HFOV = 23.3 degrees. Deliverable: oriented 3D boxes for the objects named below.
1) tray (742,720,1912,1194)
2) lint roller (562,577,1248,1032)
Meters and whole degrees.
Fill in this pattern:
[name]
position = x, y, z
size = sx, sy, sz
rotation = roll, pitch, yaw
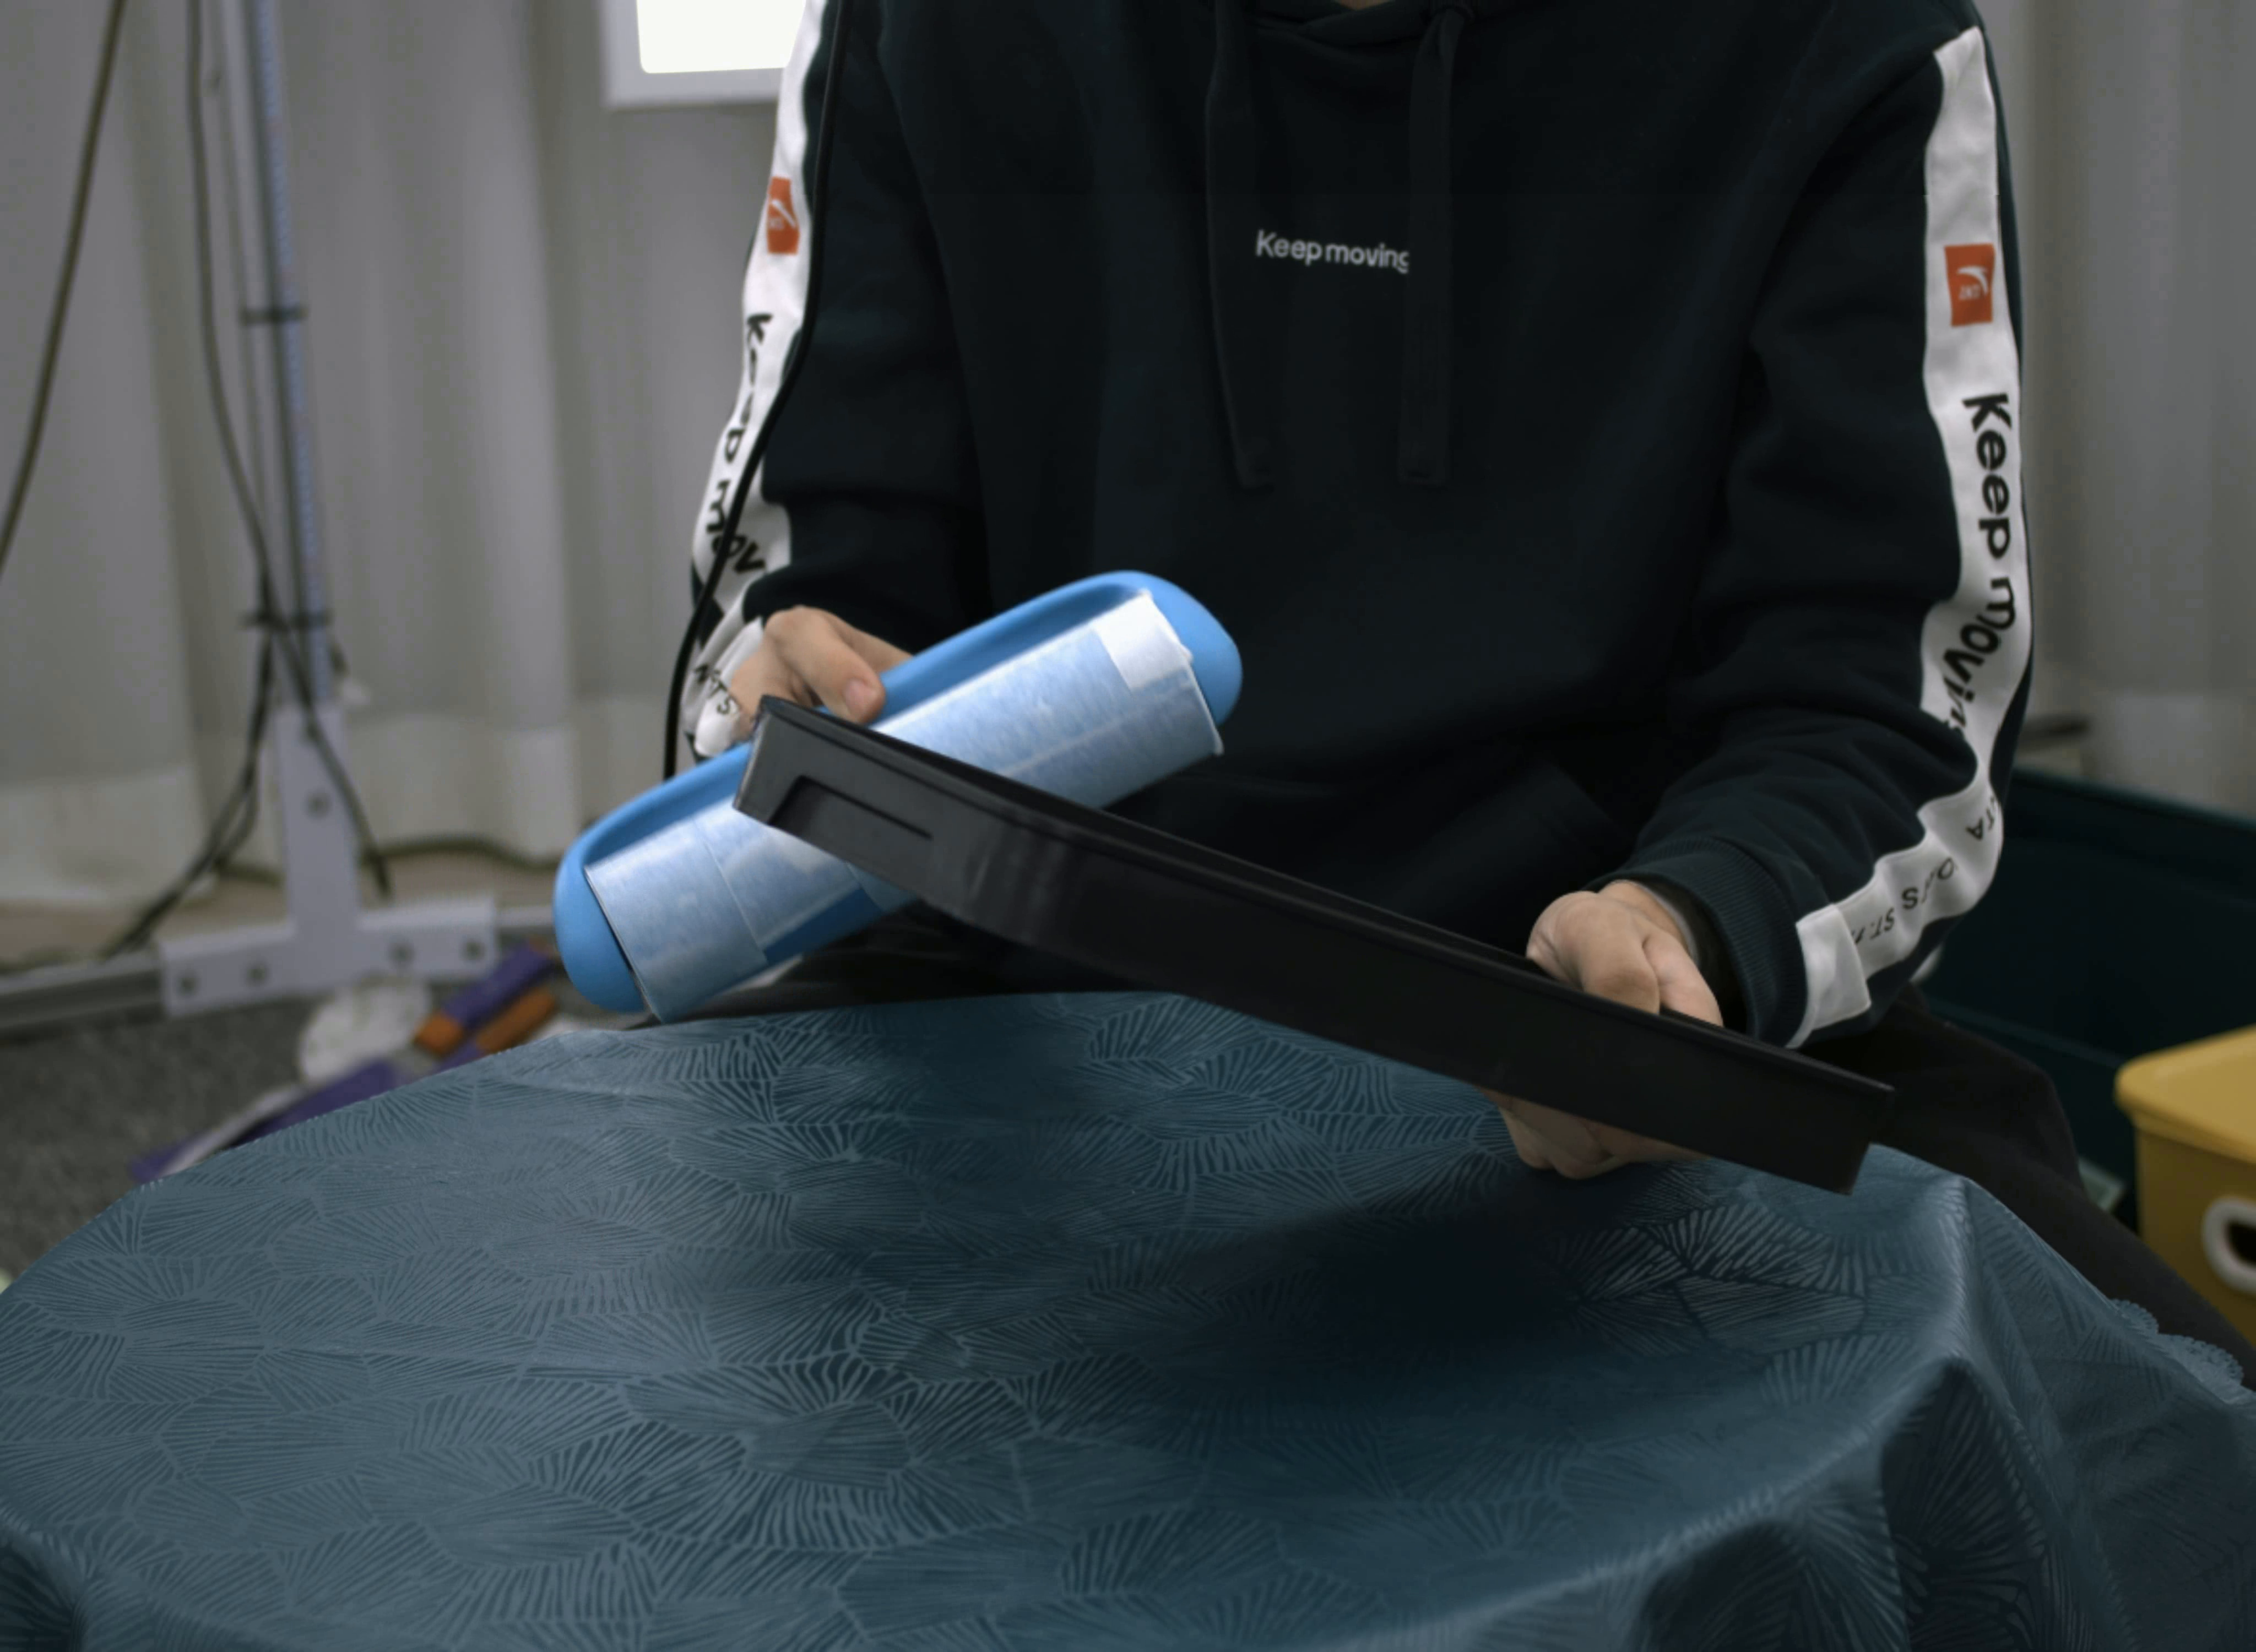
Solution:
[tray]
position = 0.057, 0.039, 1.570
size = 0.315, 0.037, 0.185
rotation = 17, 2, -33
[lint roller]
position = -0.079, -0.010, 1.739
size = 0.228, 0.068, 0.181
rotation = -29, 10, -8
